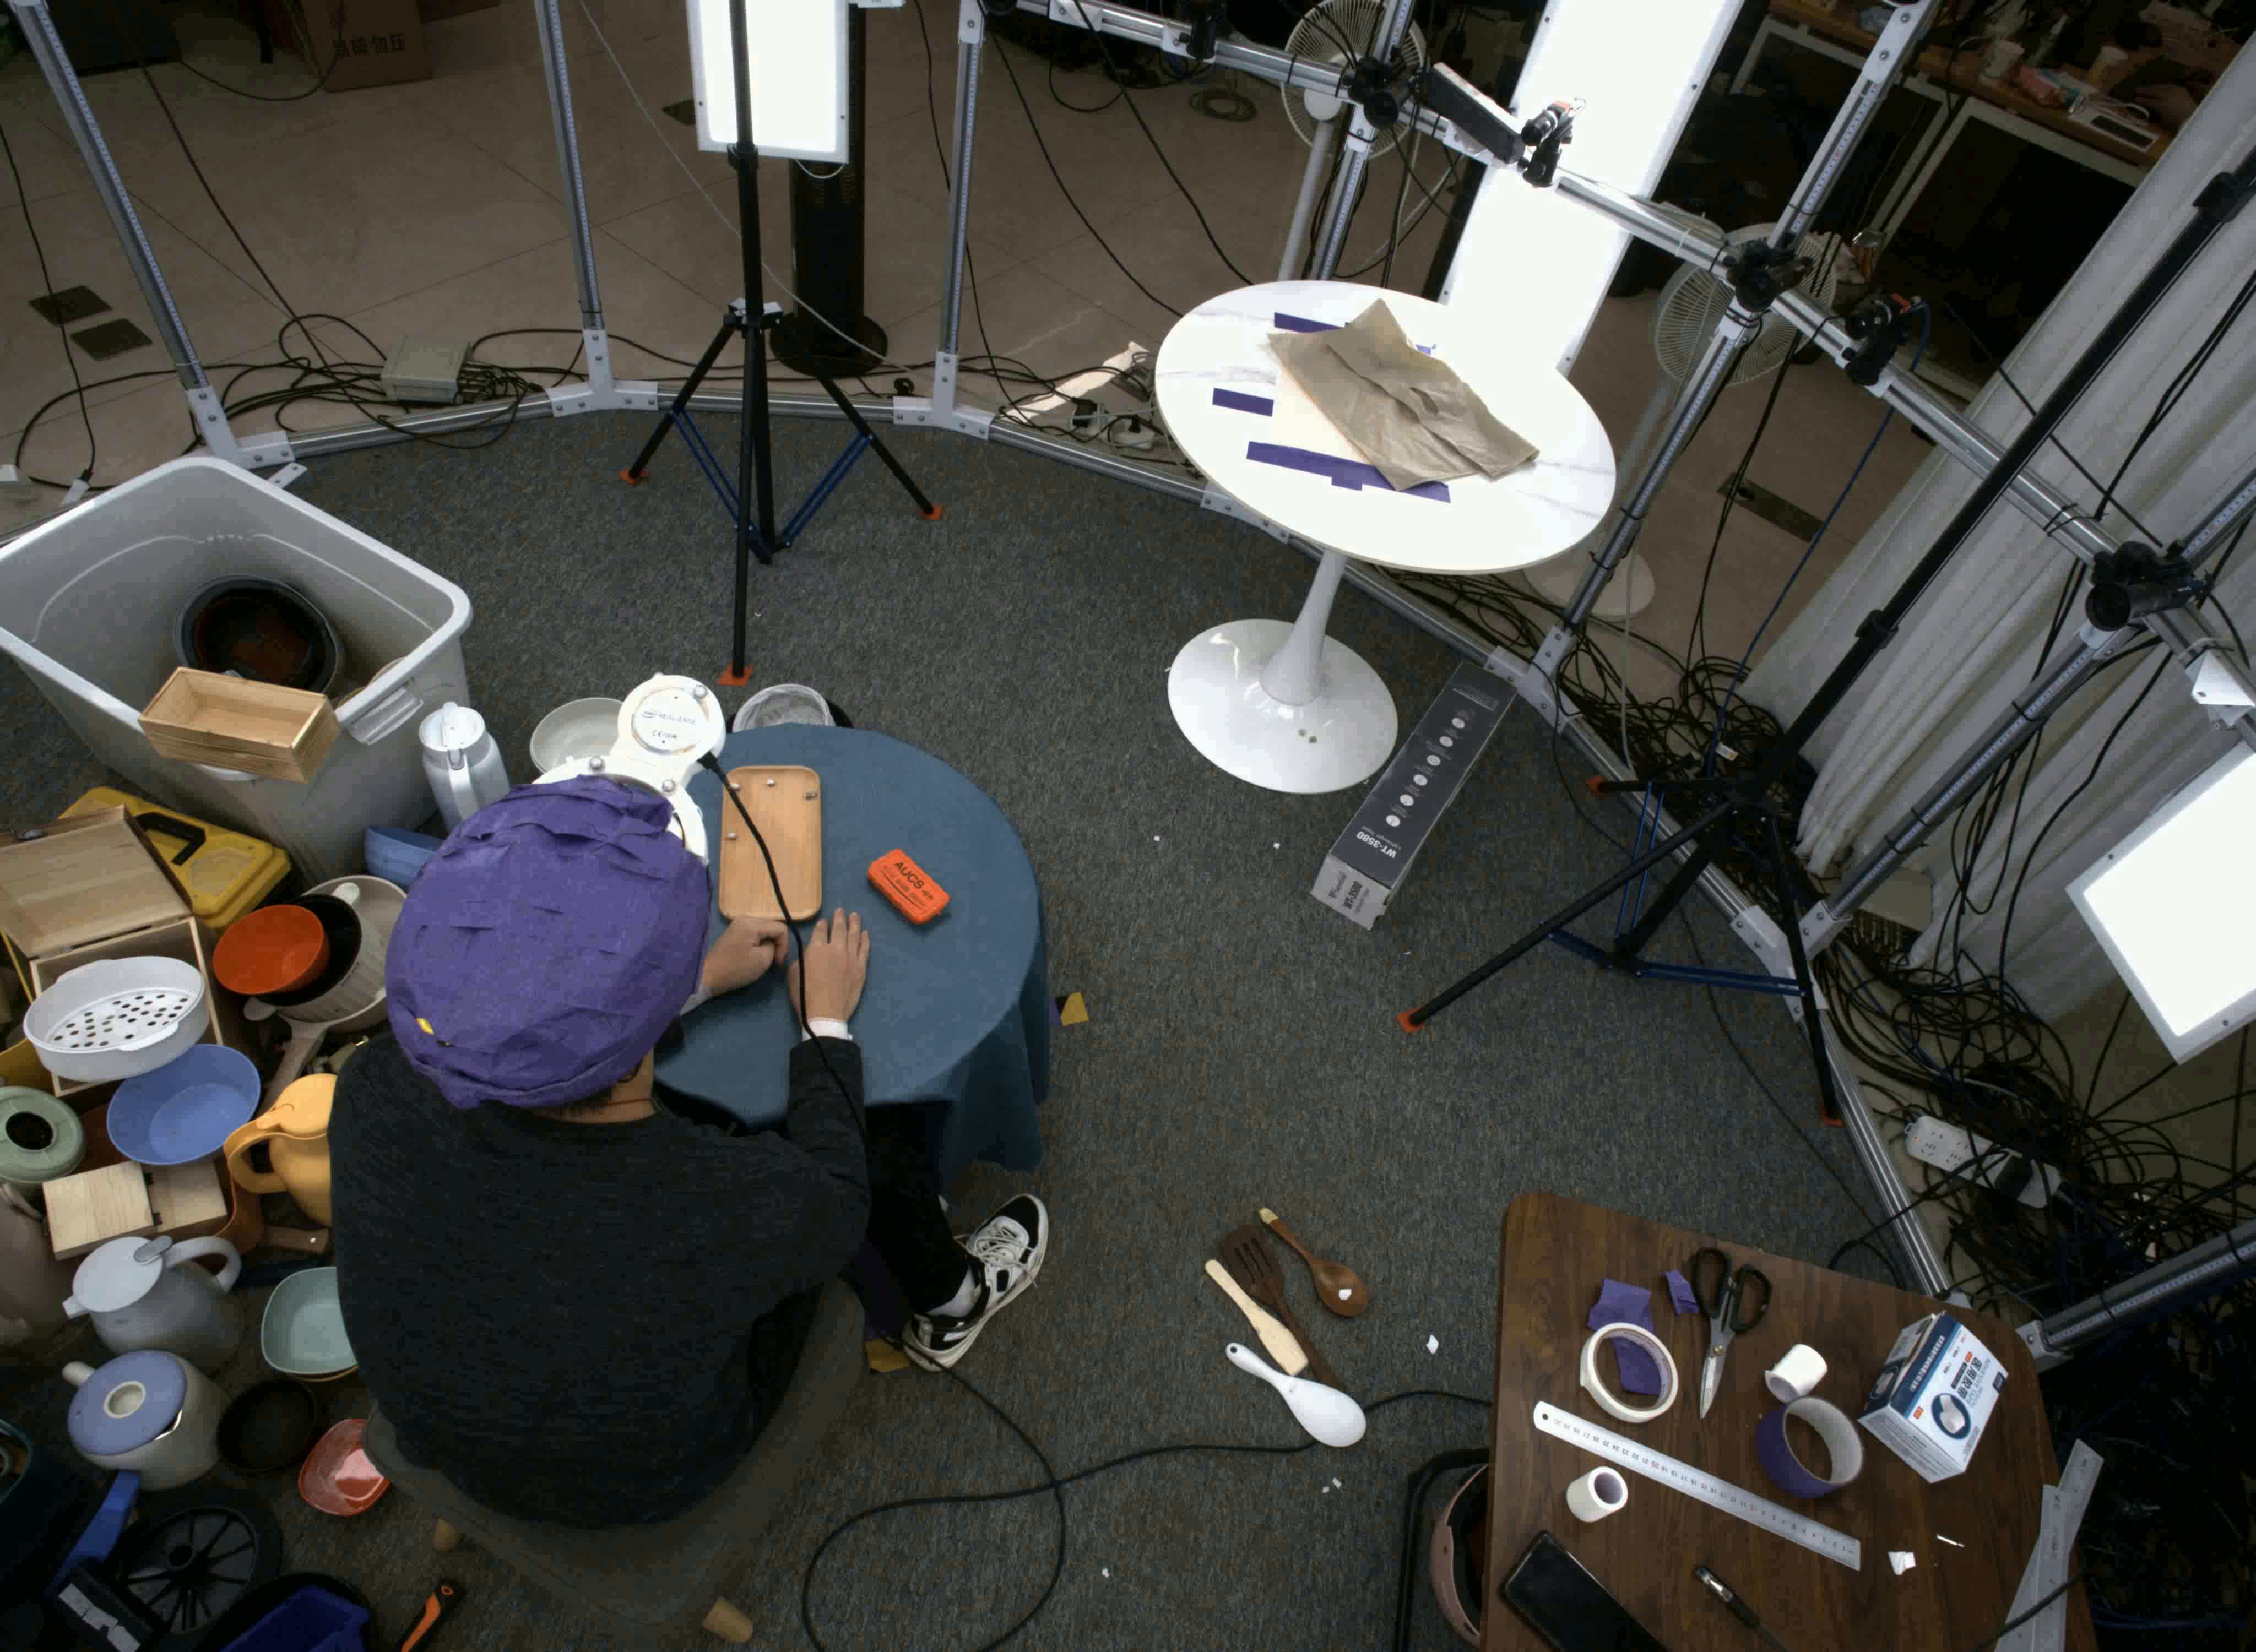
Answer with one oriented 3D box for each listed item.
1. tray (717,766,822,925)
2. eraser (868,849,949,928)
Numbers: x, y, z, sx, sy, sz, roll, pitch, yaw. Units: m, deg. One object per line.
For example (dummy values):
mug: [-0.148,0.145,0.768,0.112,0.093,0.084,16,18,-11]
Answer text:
tray: [-0.463,0.021,1.681,0.130,0.023,0.245,-1,55,-12]
eraser: [-0.285,0.078,1.681,0.105,0.023,0.059,42,54,17]
